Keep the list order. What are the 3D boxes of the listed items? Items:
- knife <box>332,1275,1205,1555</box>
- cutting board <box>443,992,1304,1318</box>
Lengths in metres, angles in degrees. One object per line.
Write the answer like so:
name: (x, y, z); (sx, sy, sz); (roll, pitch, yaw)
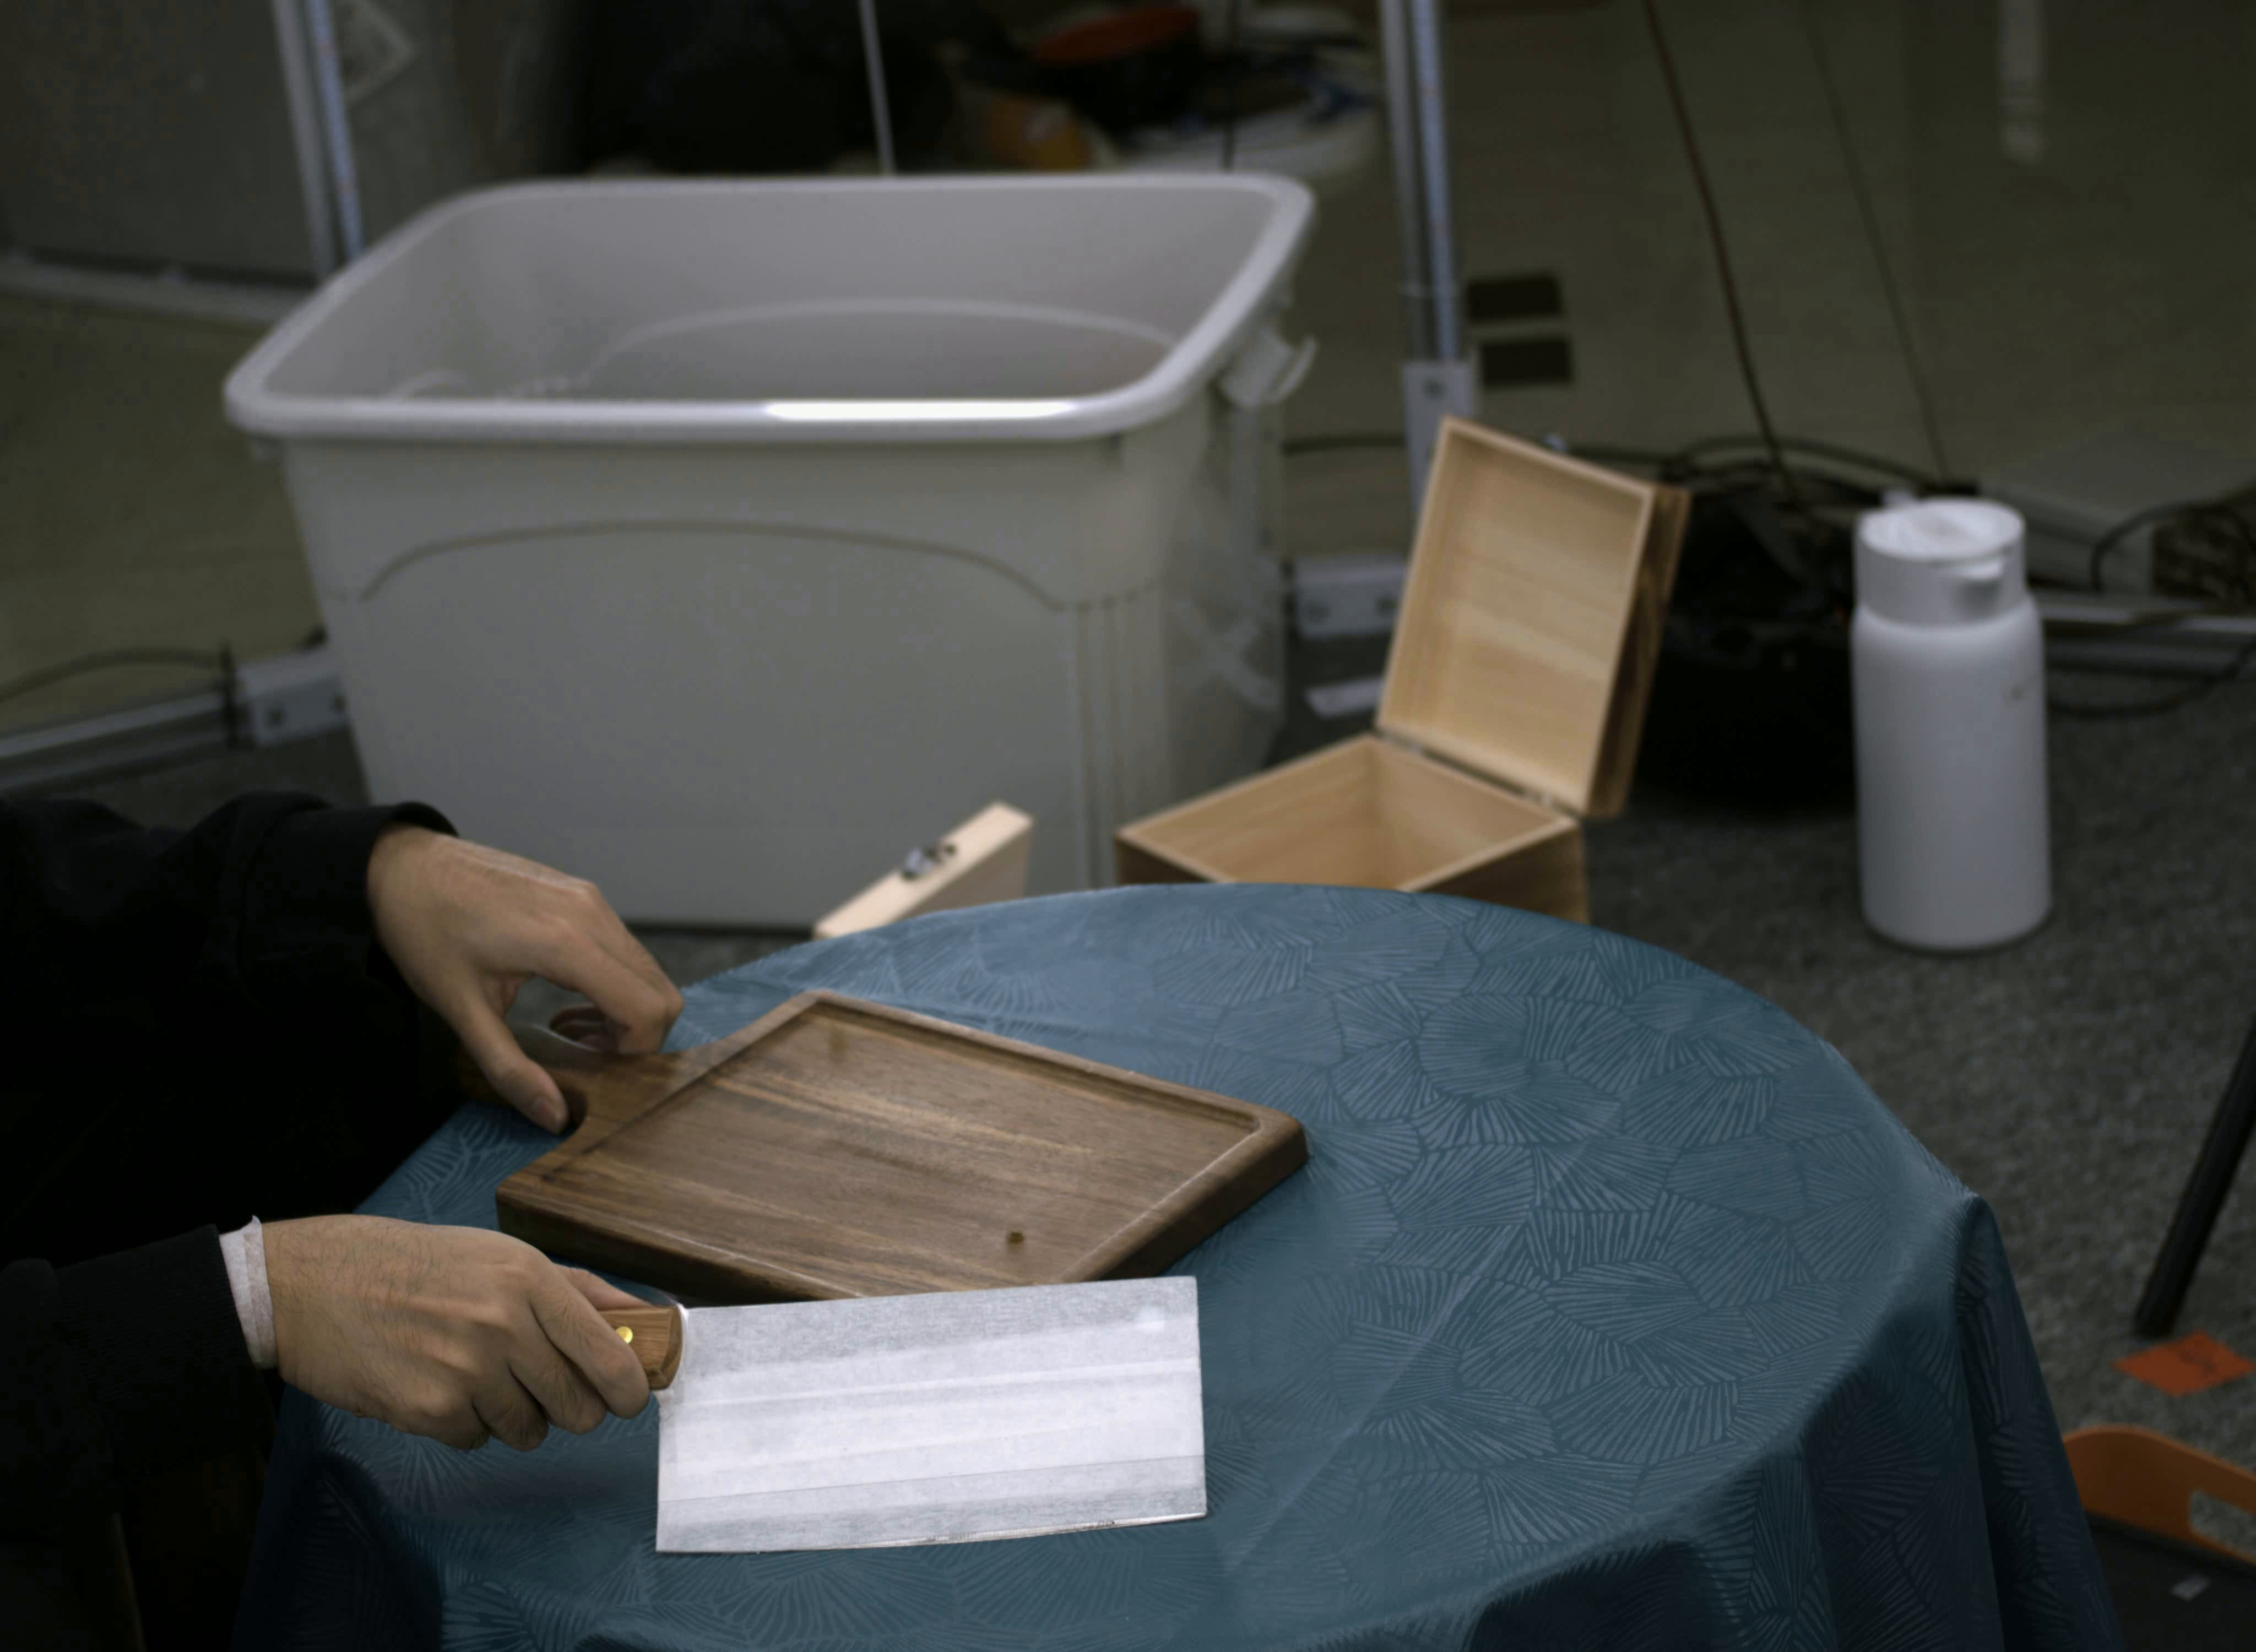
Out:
knife: (-0.126, 0.206, 1.964); (0.305, 0.021, 0.091); (-4, 63, 4)
cutting board: (-0.126, 0.124, 2.181); (0.350, 0.023, 0.199); (13, 31, 34)
